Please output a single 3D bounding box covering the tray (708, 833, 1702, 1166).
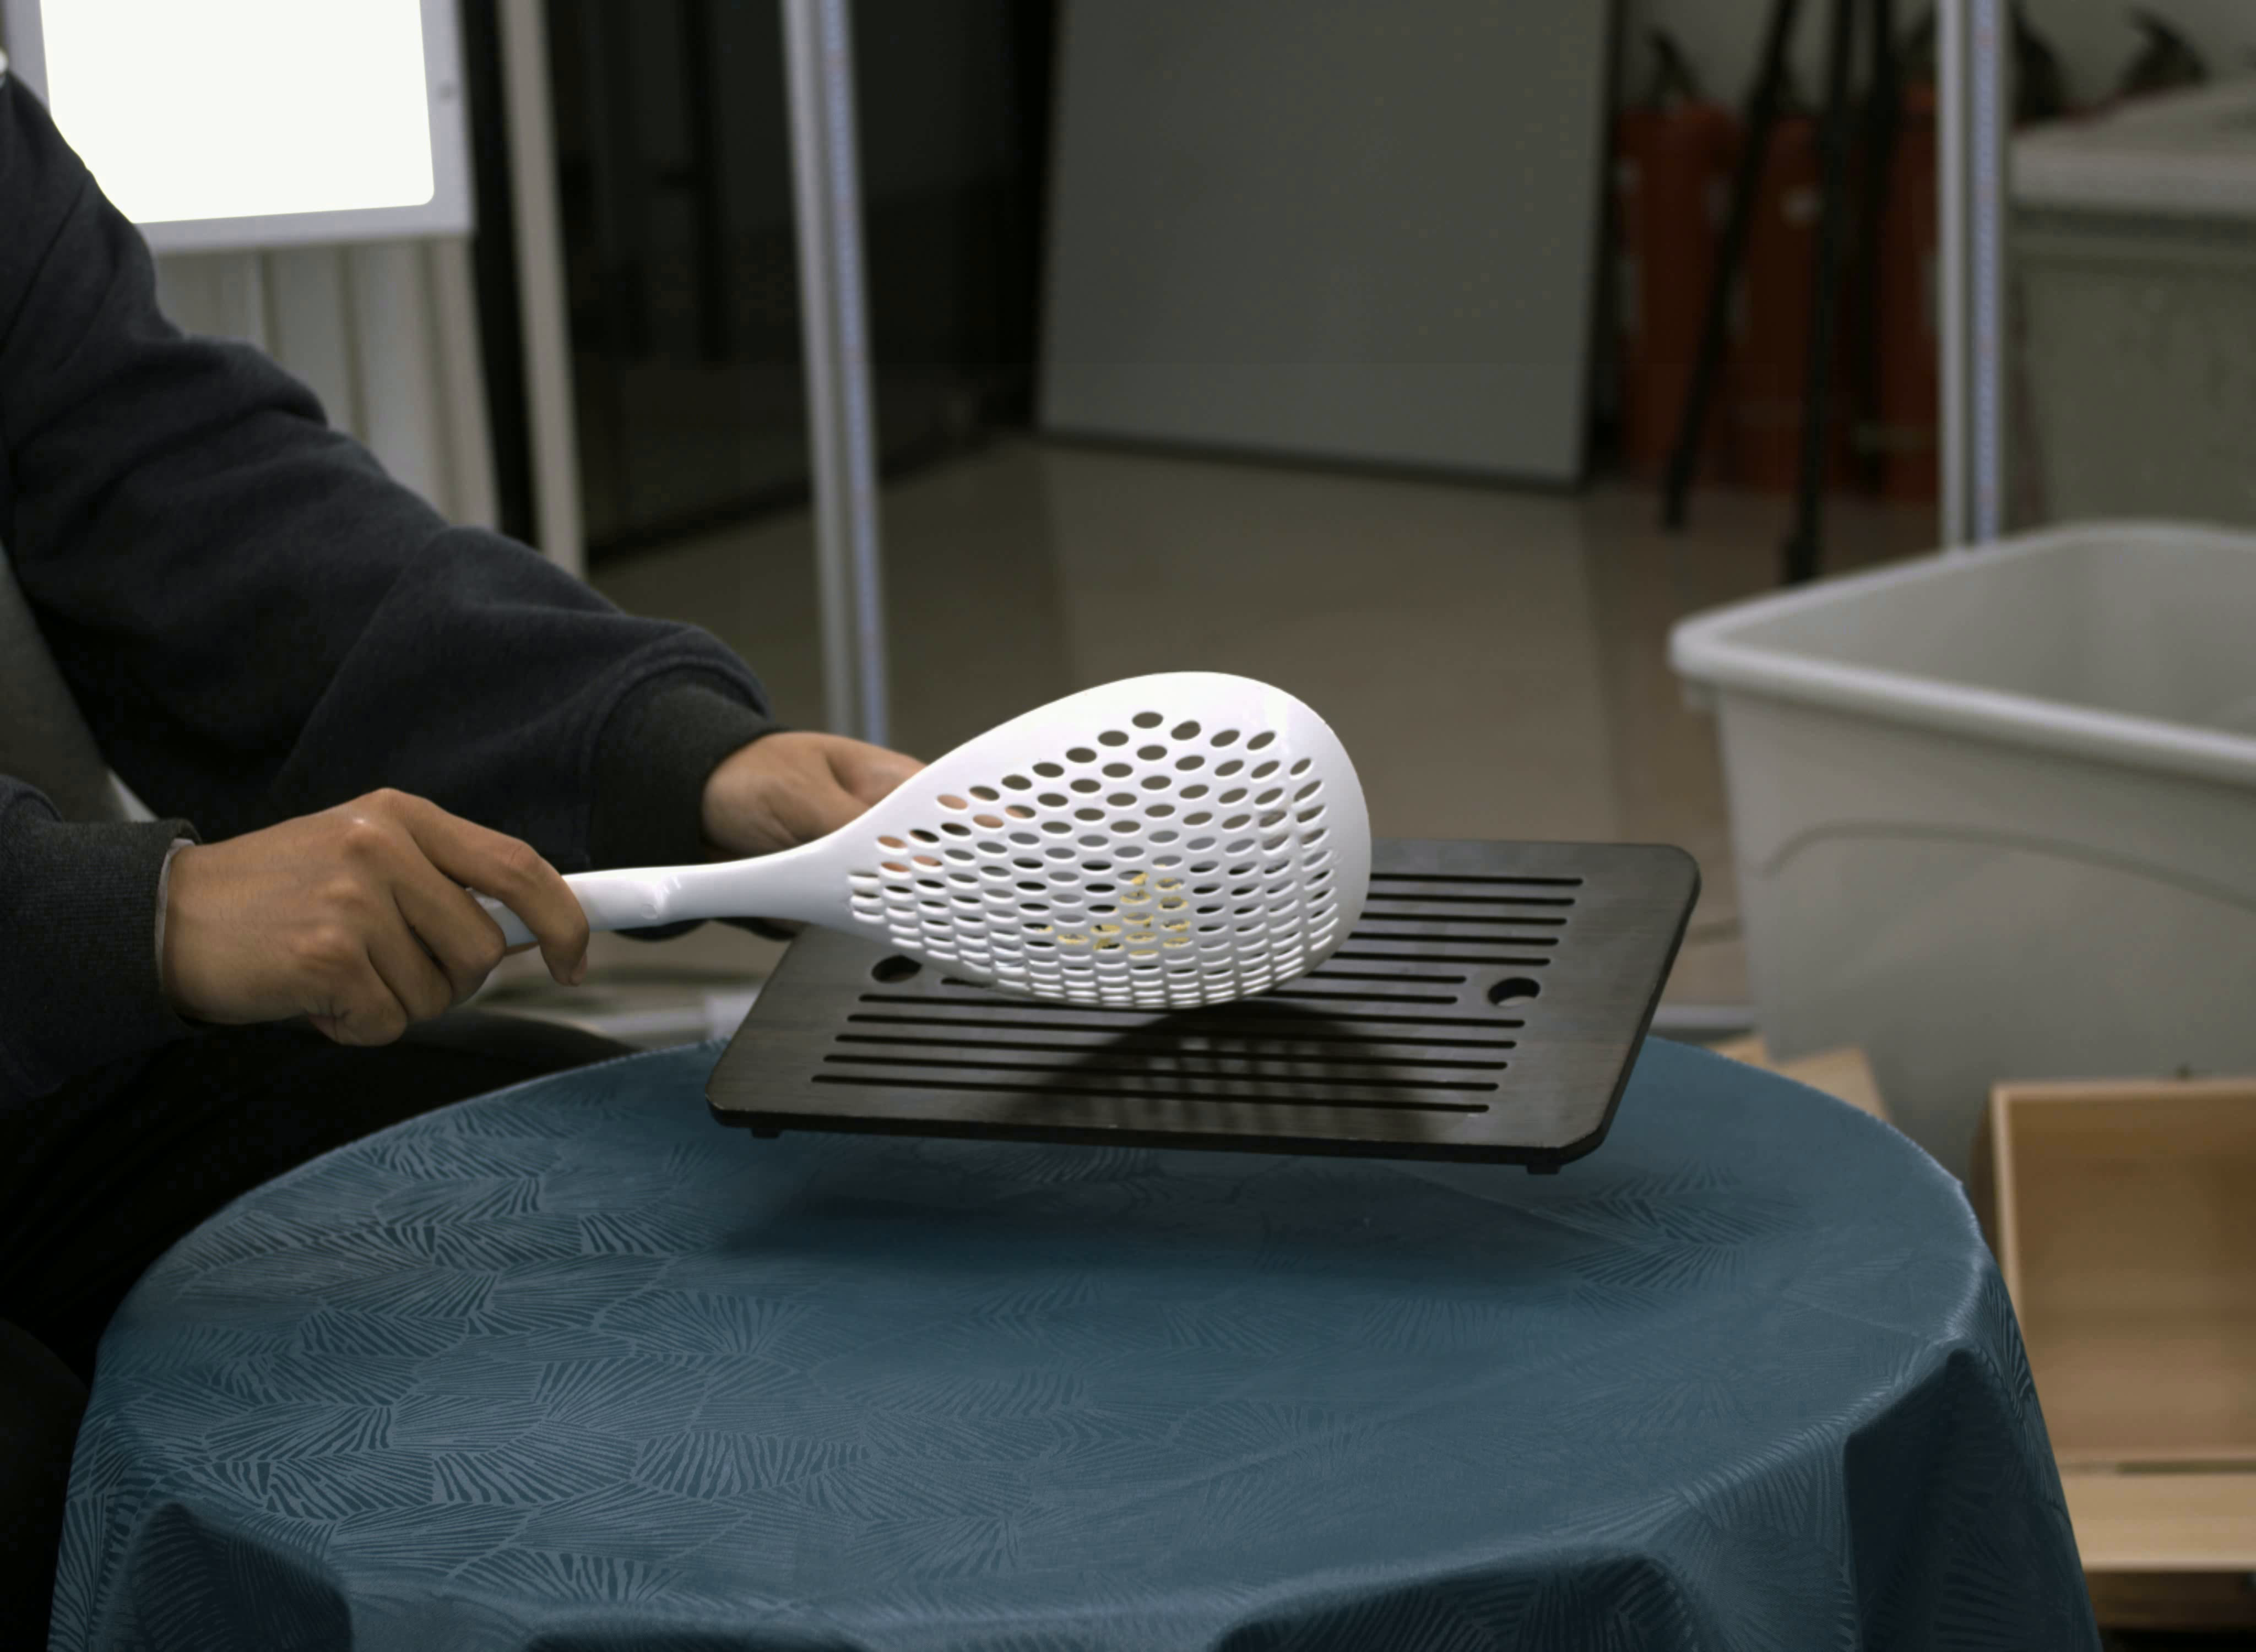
[{"bbox_3d":[0.027,0.054,1.766,0.305,0.019,0.169,1,33,21],"label":"tray"}]

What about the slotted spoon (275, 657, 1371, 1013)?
[{"bbox_3d":[-0.095,0.020,1.706,0.344,0.137,0.050,-2,37,7],"label":"slotted spoon"}]
